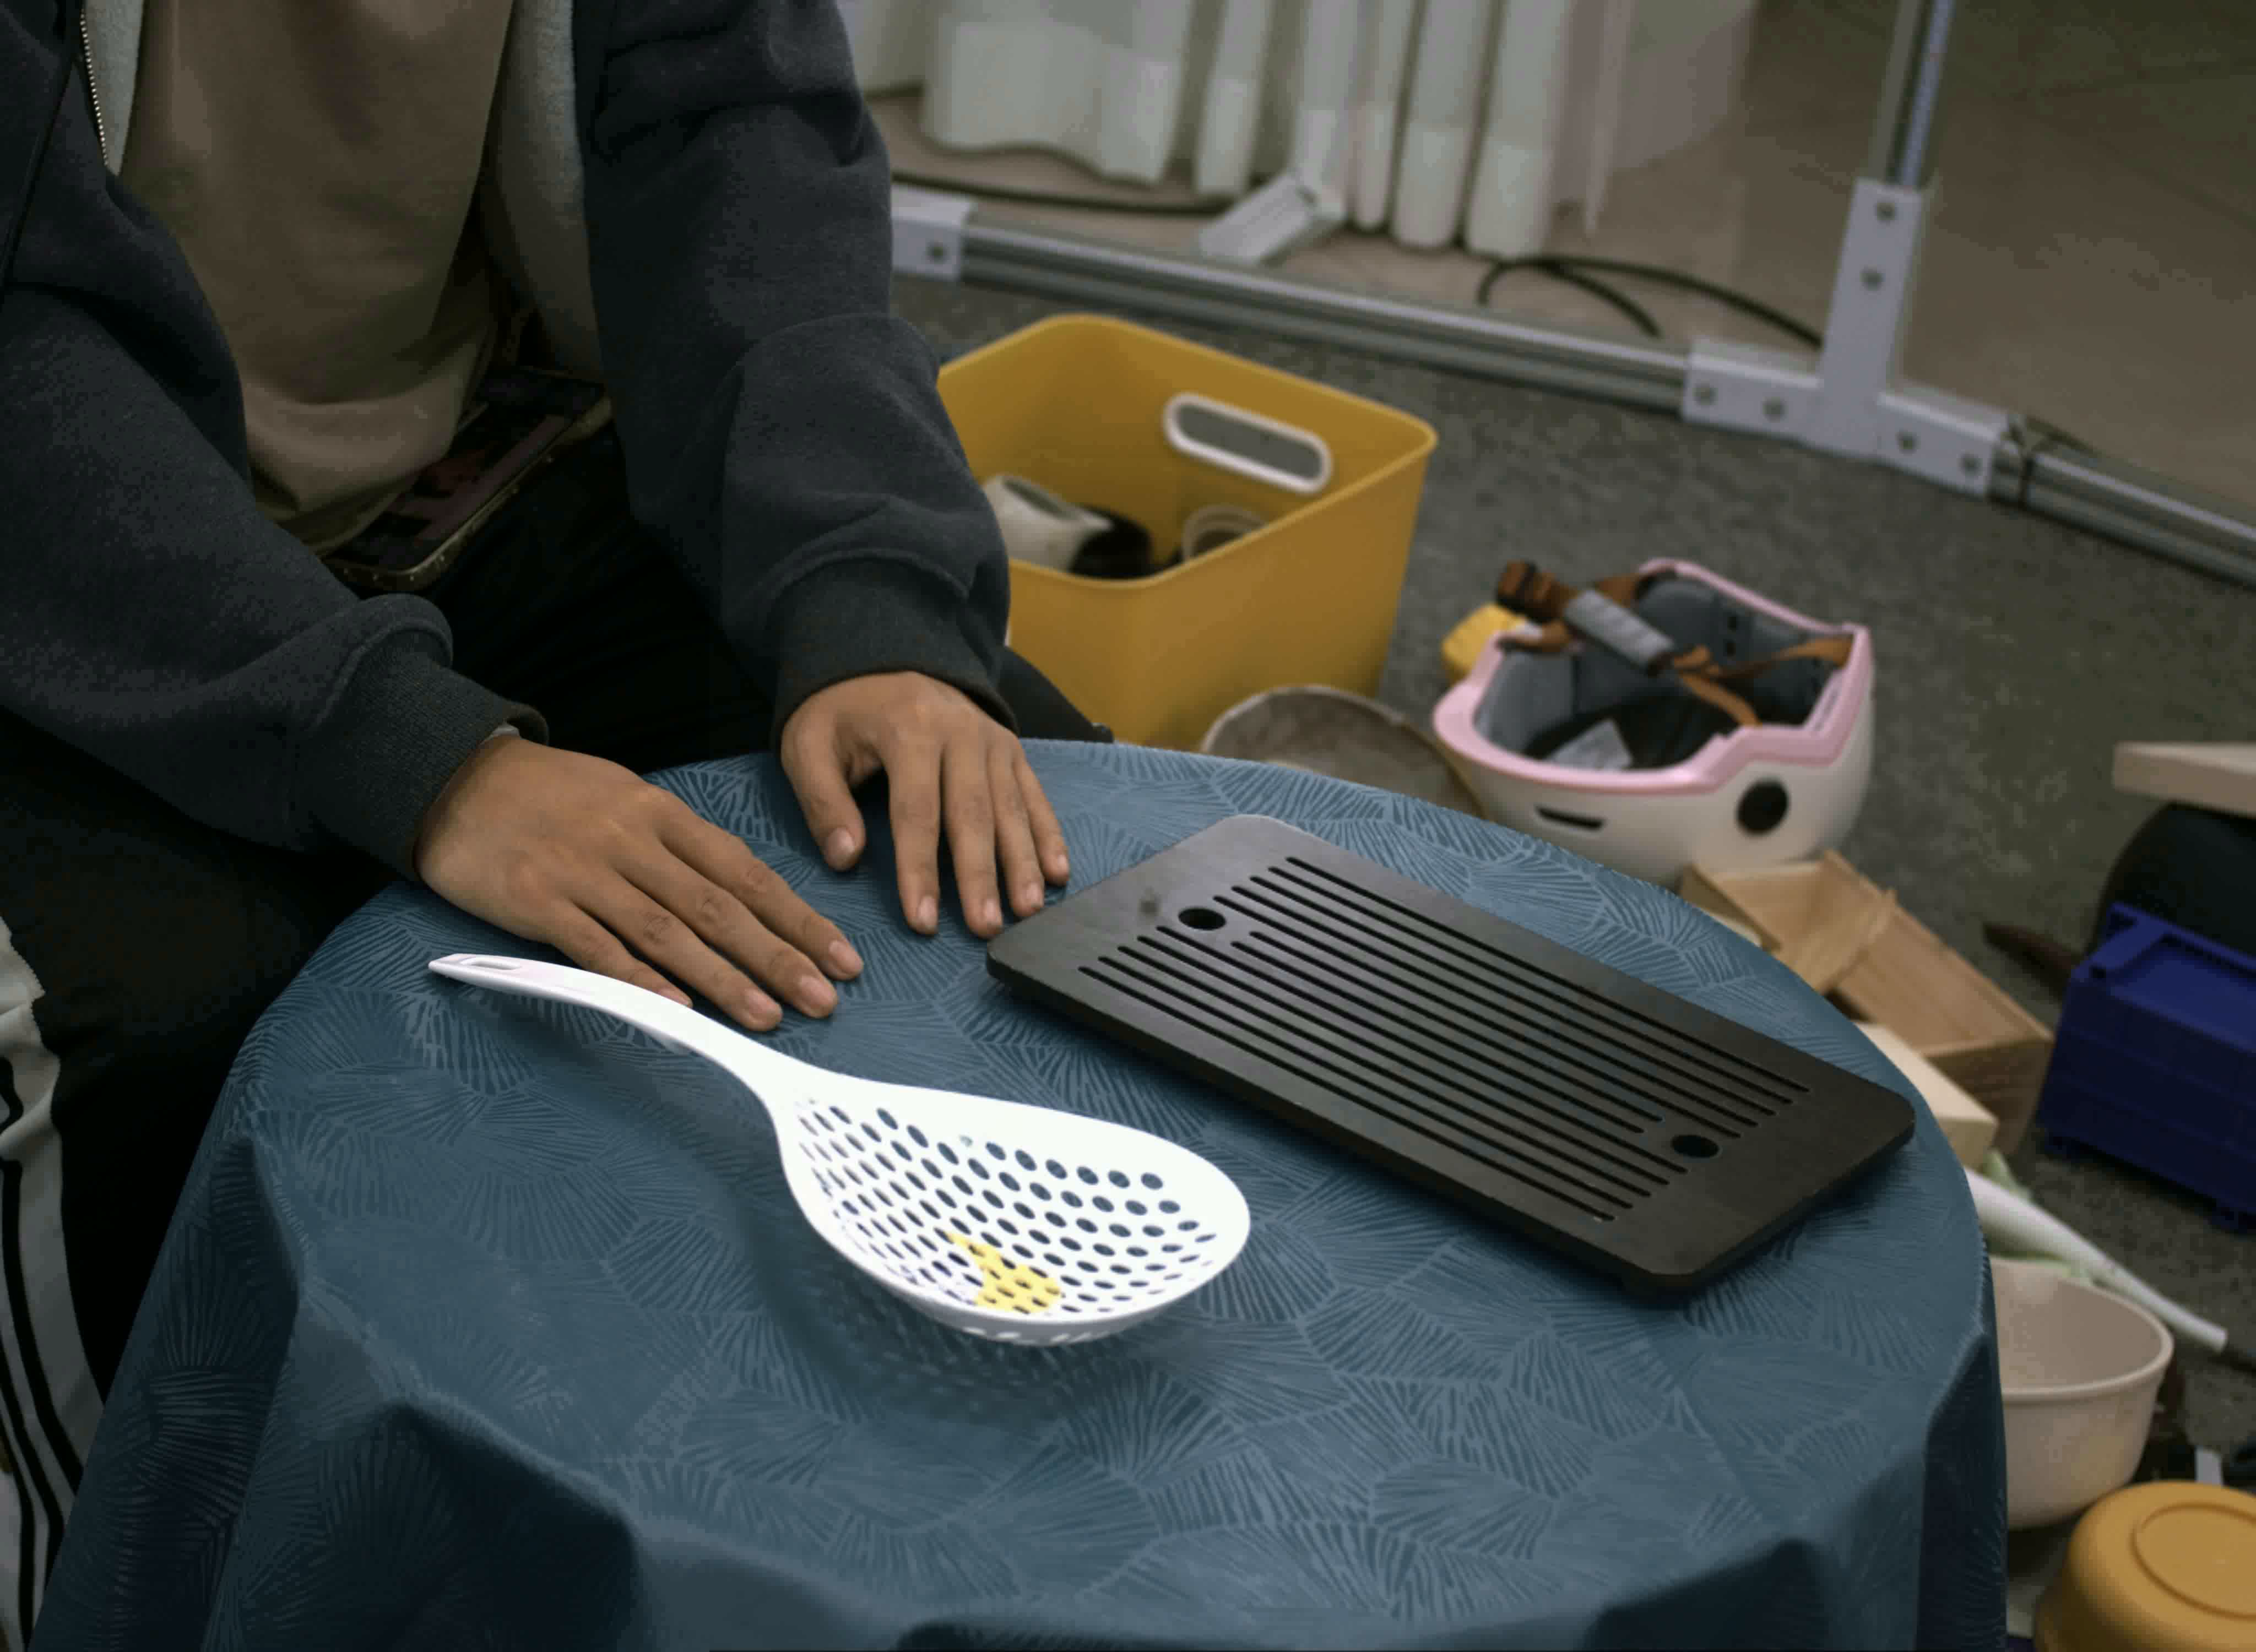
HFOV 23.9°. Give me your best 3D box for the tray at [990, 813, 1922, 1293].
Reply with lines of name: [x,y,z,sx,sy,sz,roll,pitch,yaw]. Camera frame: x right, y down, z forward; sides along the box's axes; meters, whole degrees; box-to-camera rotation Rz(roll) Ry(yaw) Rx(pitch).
tray: [0.114,0.078,1.897,0.308,0.018,0.169,24,32,31]

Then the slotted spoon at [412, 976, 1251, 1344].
slotted spoon: [-0.113,0.098,1.781,0.350,0.050,0.136,27,35,34]
